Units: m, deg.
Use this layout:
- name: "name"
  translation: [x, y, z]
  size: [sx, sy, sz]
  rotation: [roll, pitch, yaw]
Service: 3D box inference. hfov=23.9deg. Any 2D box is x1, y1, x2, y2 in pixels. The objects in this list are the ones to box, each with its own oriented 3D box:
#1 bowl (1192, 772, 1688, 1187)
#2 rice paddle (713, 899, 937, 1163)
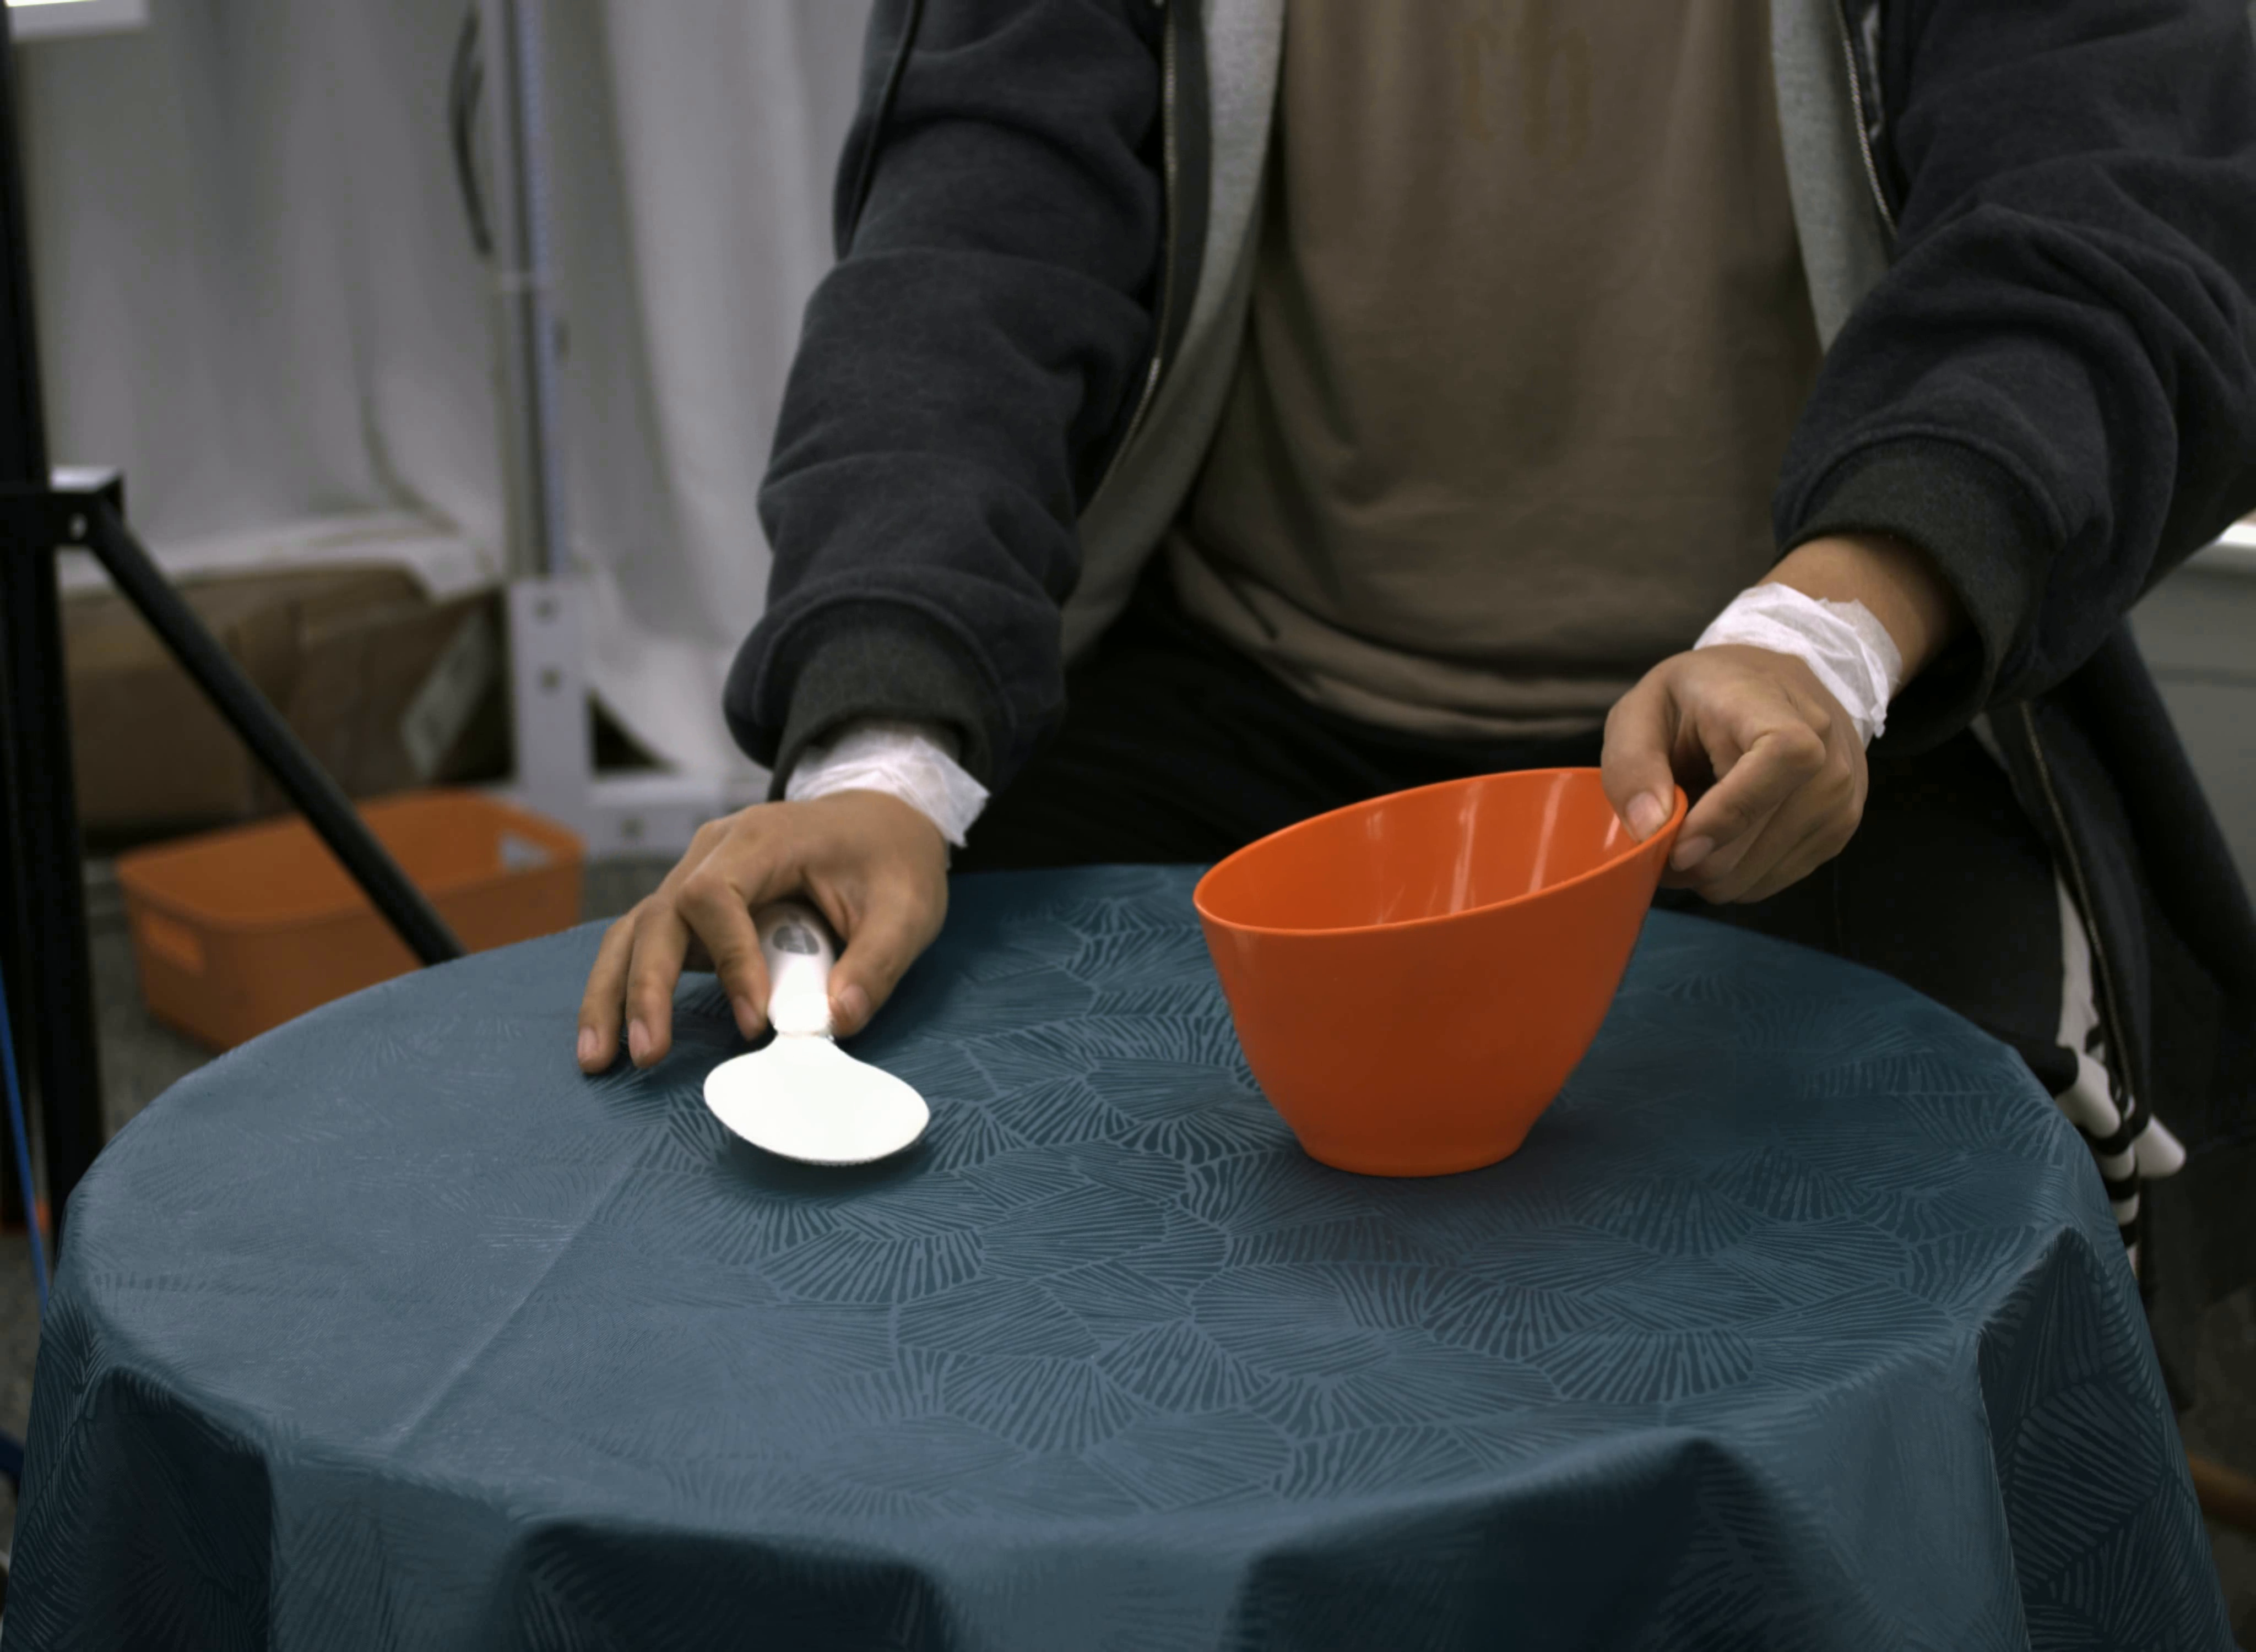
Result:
- name: "bowl"
  translation: [0.094, 0.048, 1.574]
  size: [0.147, 0.104, 0.149]
  rotation: [-4, 16, 0]
- name: "rice paddle"
  translation: [-0.100, 0.066, 1.665]
  size: [0.068, 0.029, 0.207]
  rotation: [3, 16, -9]
